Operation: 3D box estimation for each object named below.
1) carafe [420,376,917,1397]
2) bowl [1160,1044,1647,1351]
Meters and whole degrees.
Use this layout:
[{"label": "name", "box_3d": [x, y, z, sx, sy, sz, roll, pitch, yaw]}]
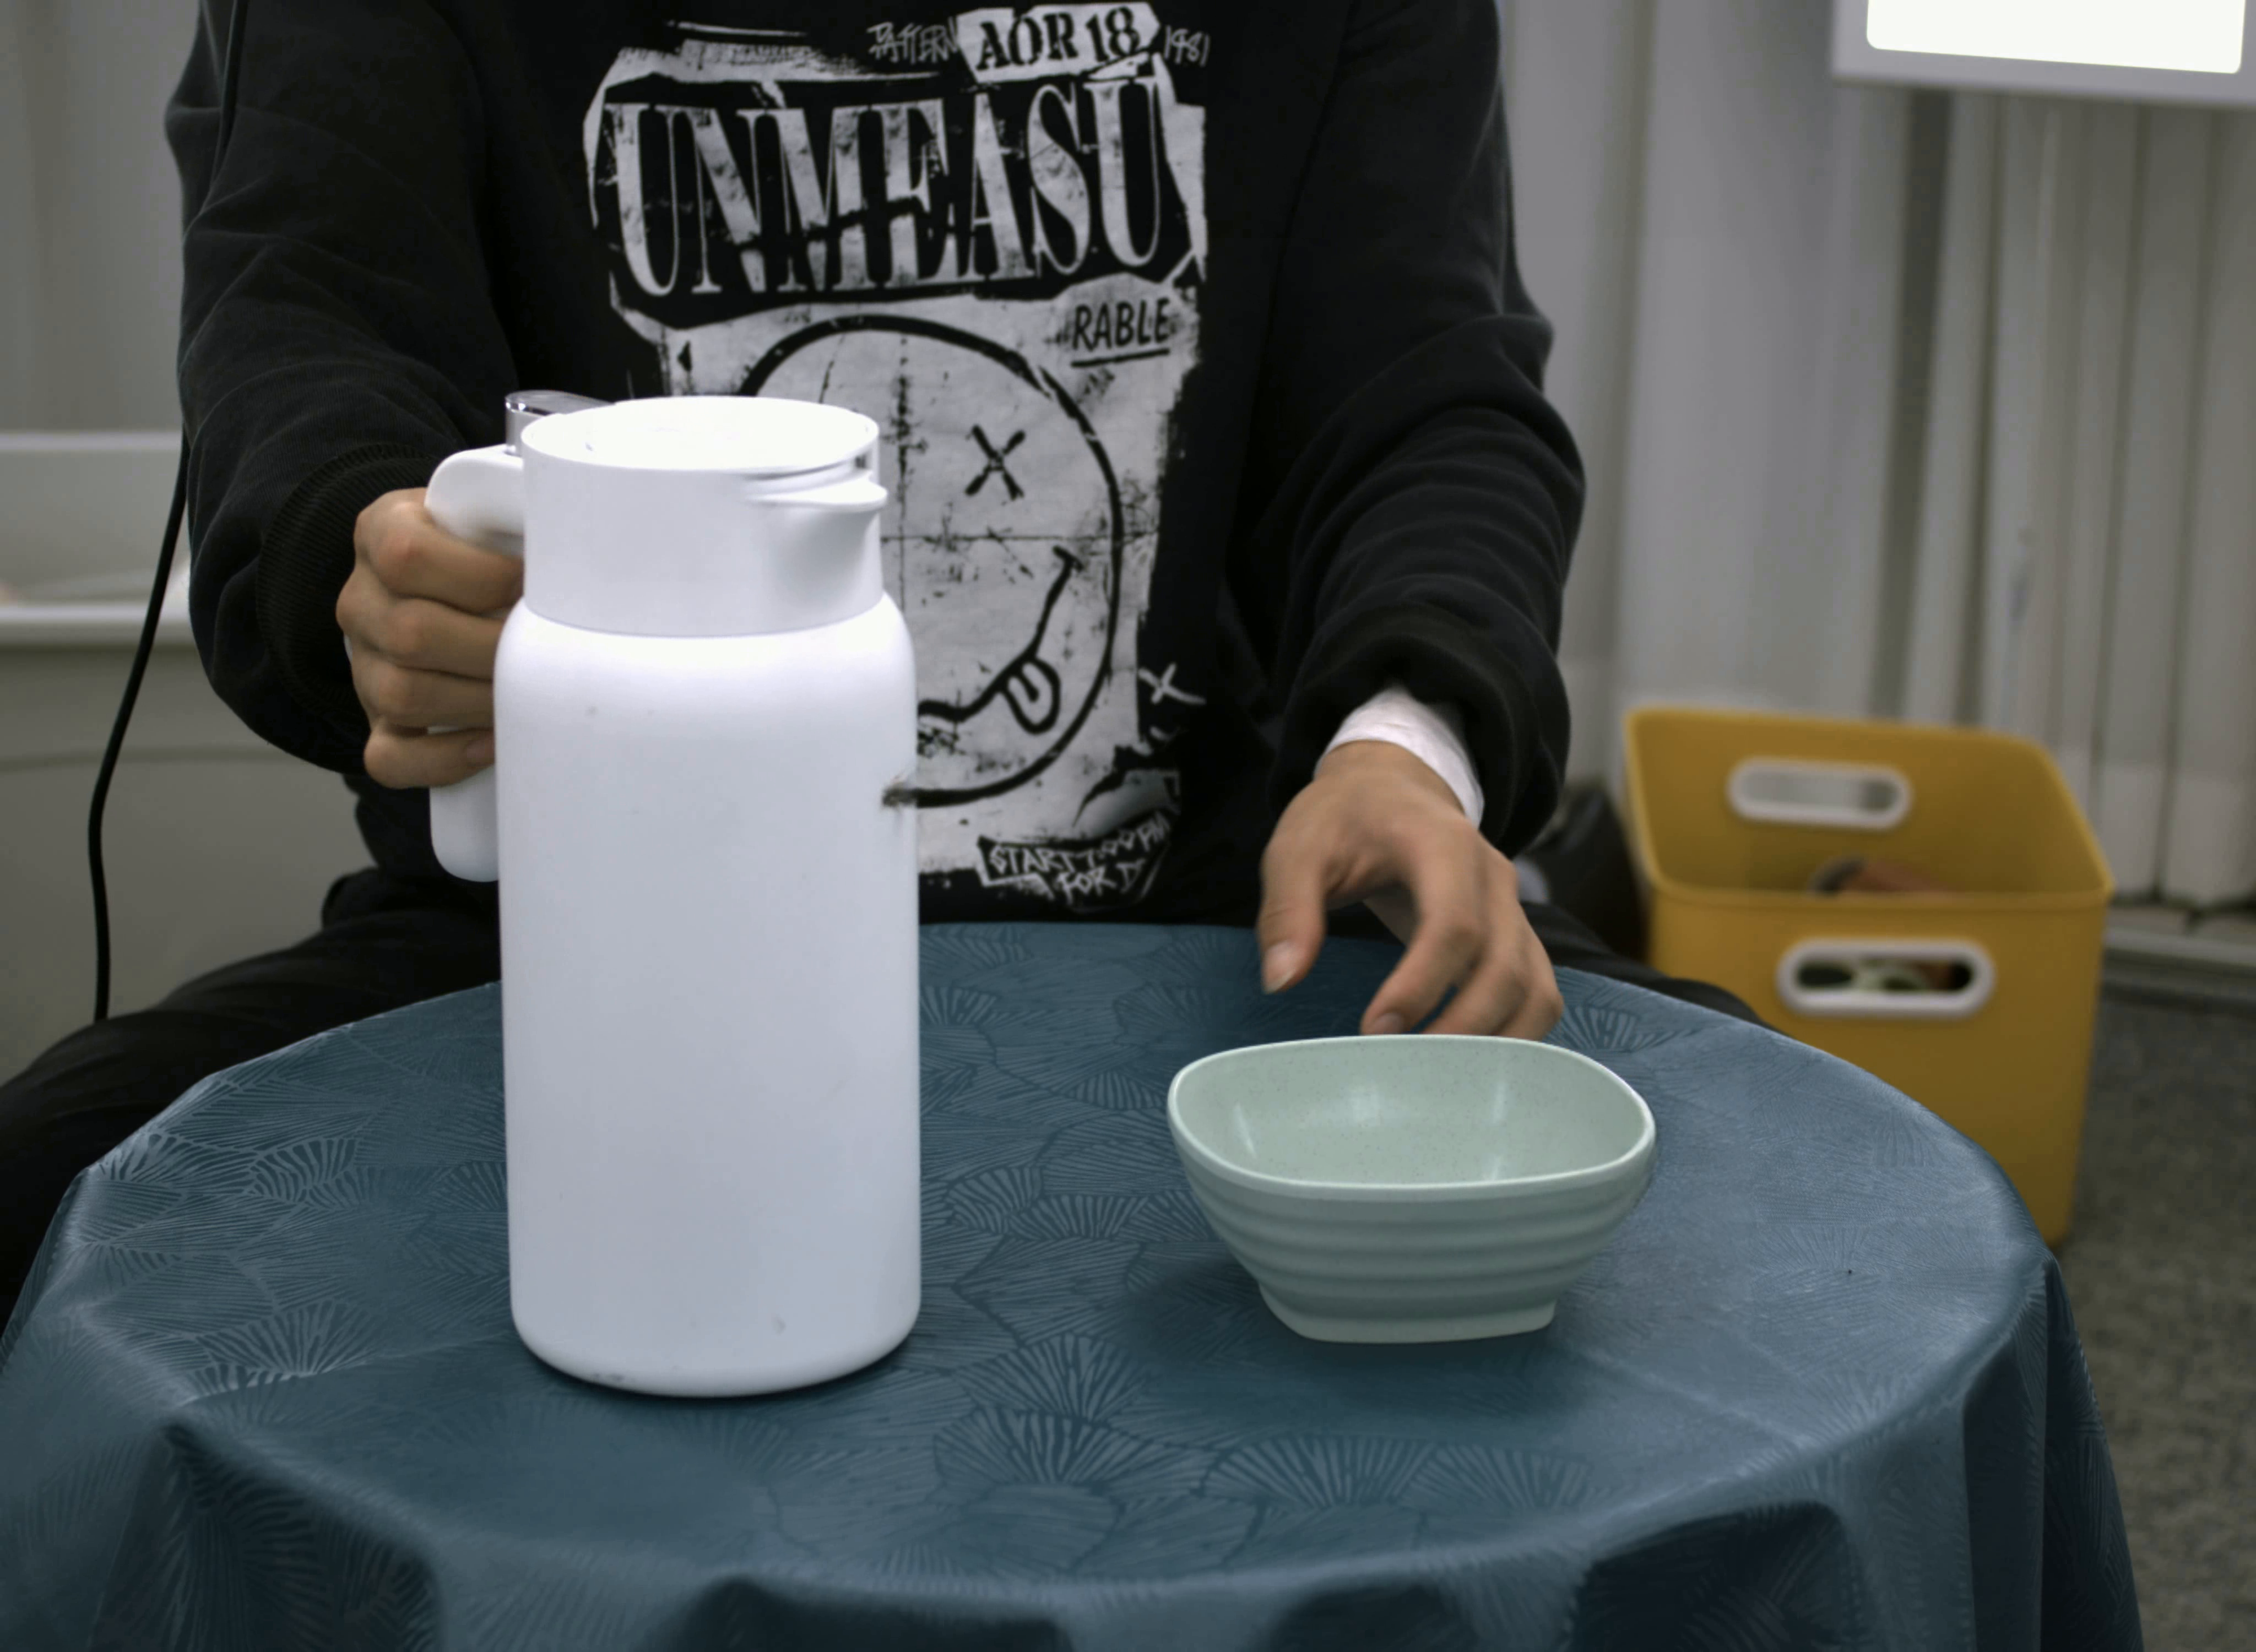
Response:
[{"label": "carafe", "box_3d": [-0.131, 0.014, 1.473, 0.170, 0.271, 0.124, 14, 23, 39]}, {"label": "bowl", "box_3d": [0.079, 0.111, 1.532, 0.151, 0.059, 0.150, 1, 15, 0]}]
